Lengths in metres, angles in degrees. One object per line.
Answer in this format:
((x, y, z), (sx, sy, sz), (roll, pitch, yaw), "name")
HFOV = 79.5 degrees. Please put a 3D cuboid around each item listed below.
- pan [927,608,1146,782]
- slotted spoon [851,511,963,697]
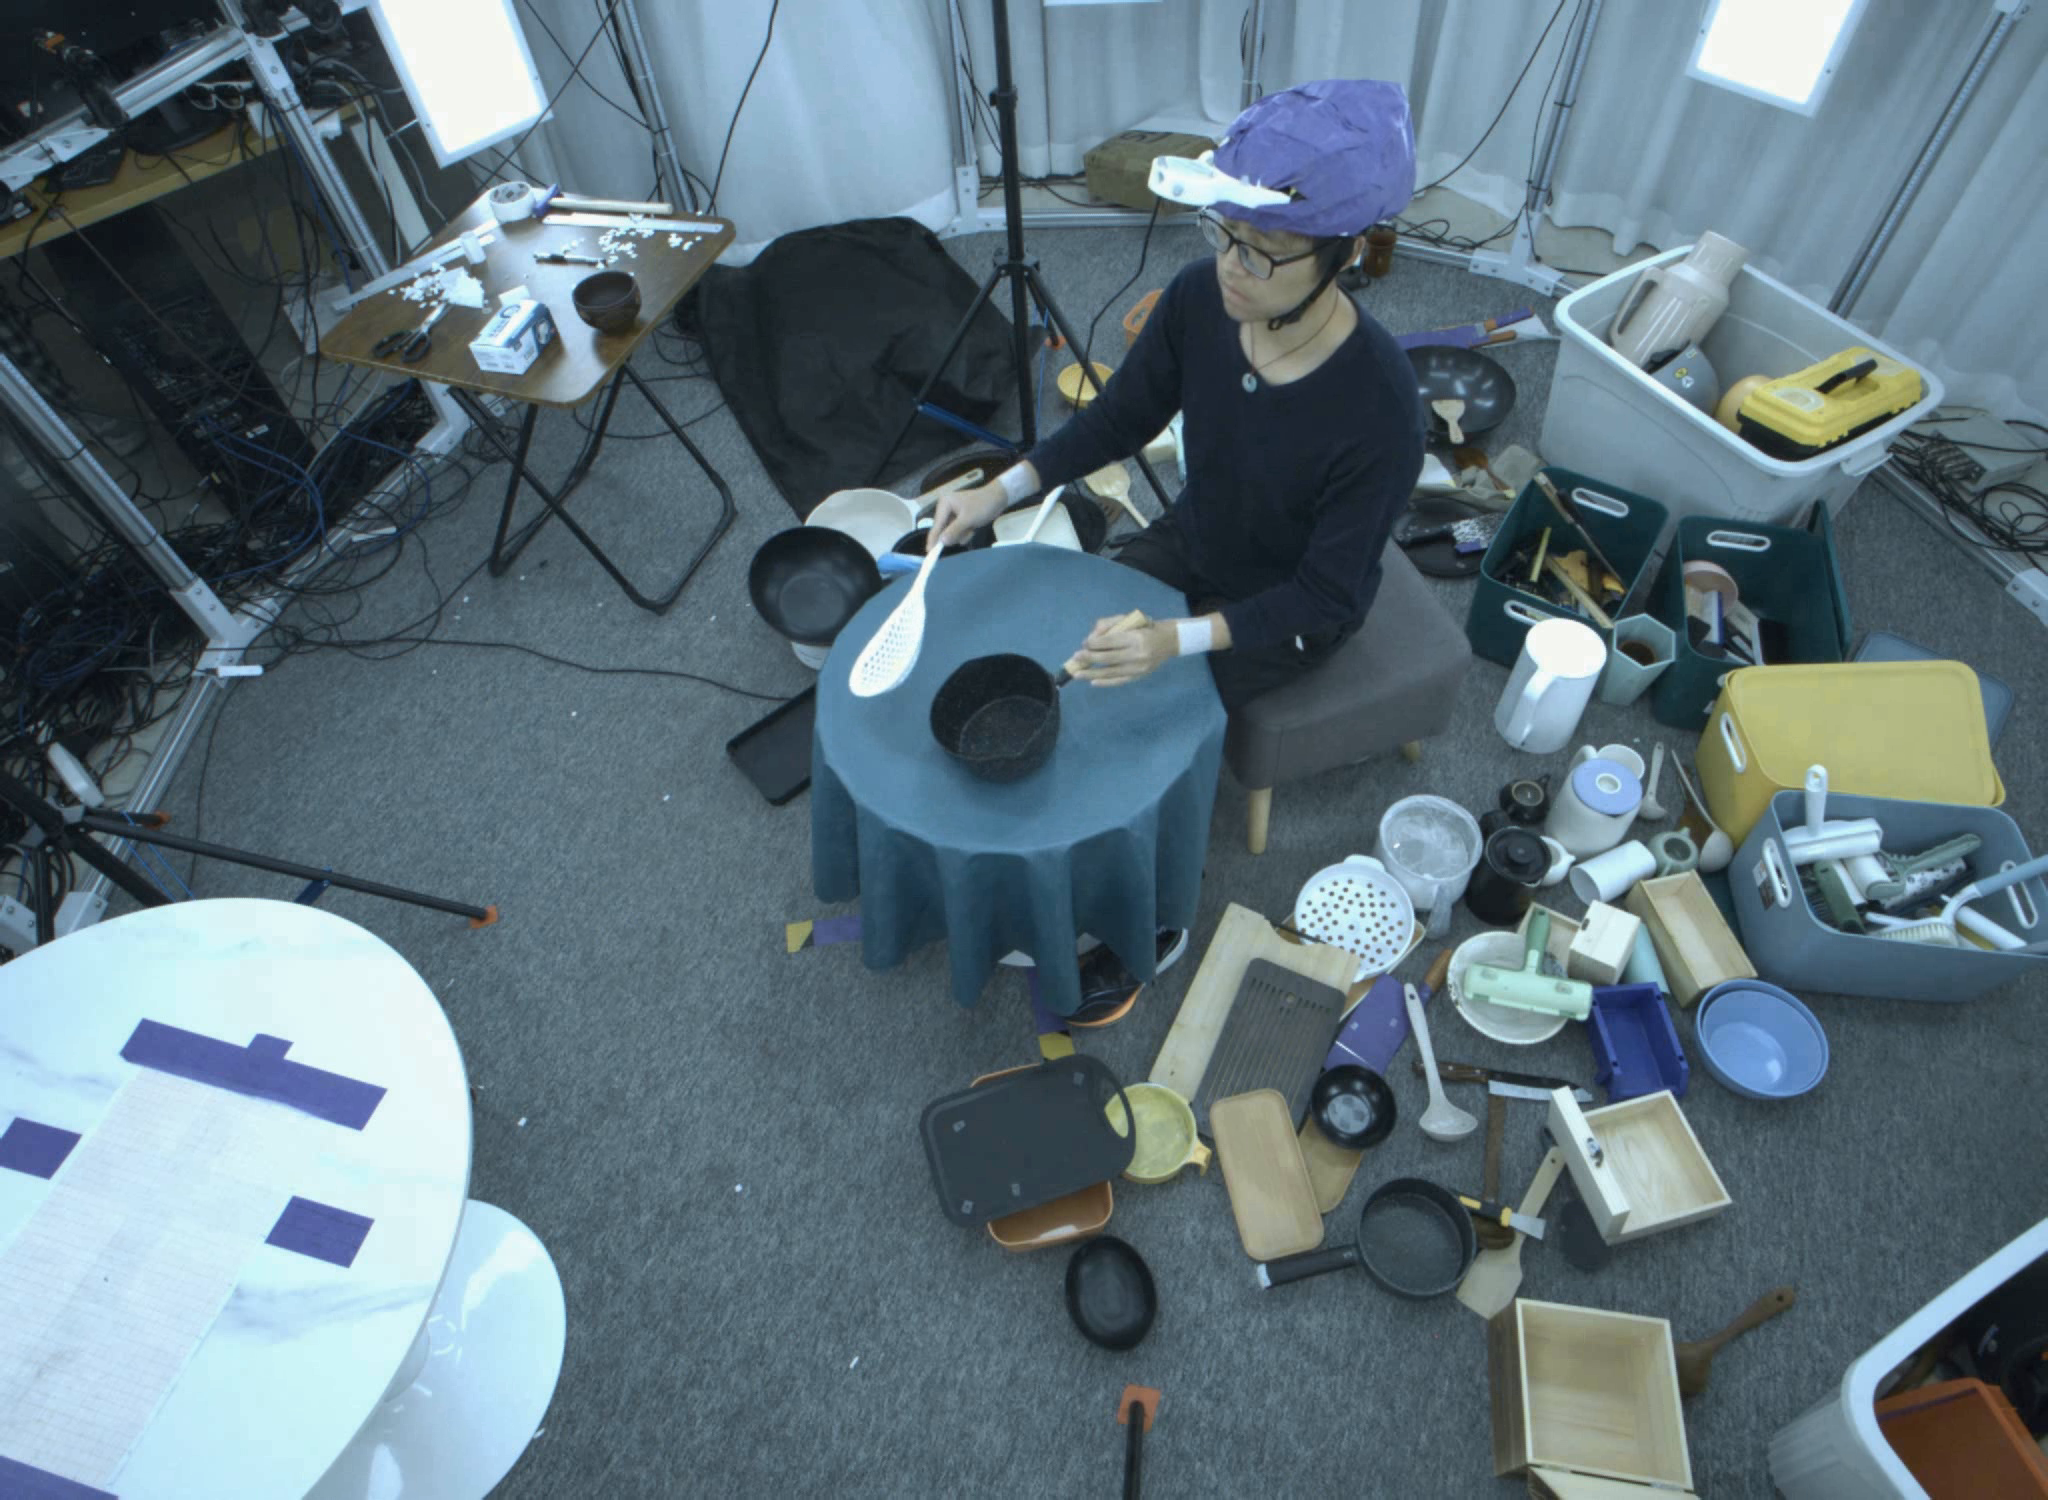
((0.029, -0.086, 1.742), (0.343, 0.110, 0.203), (-30, 52, -2), "pan")
((-0.155, -0.221, 1.786), (0.134, 0.051, 0.347), (-9, 58, 47), "slotted spoon")
